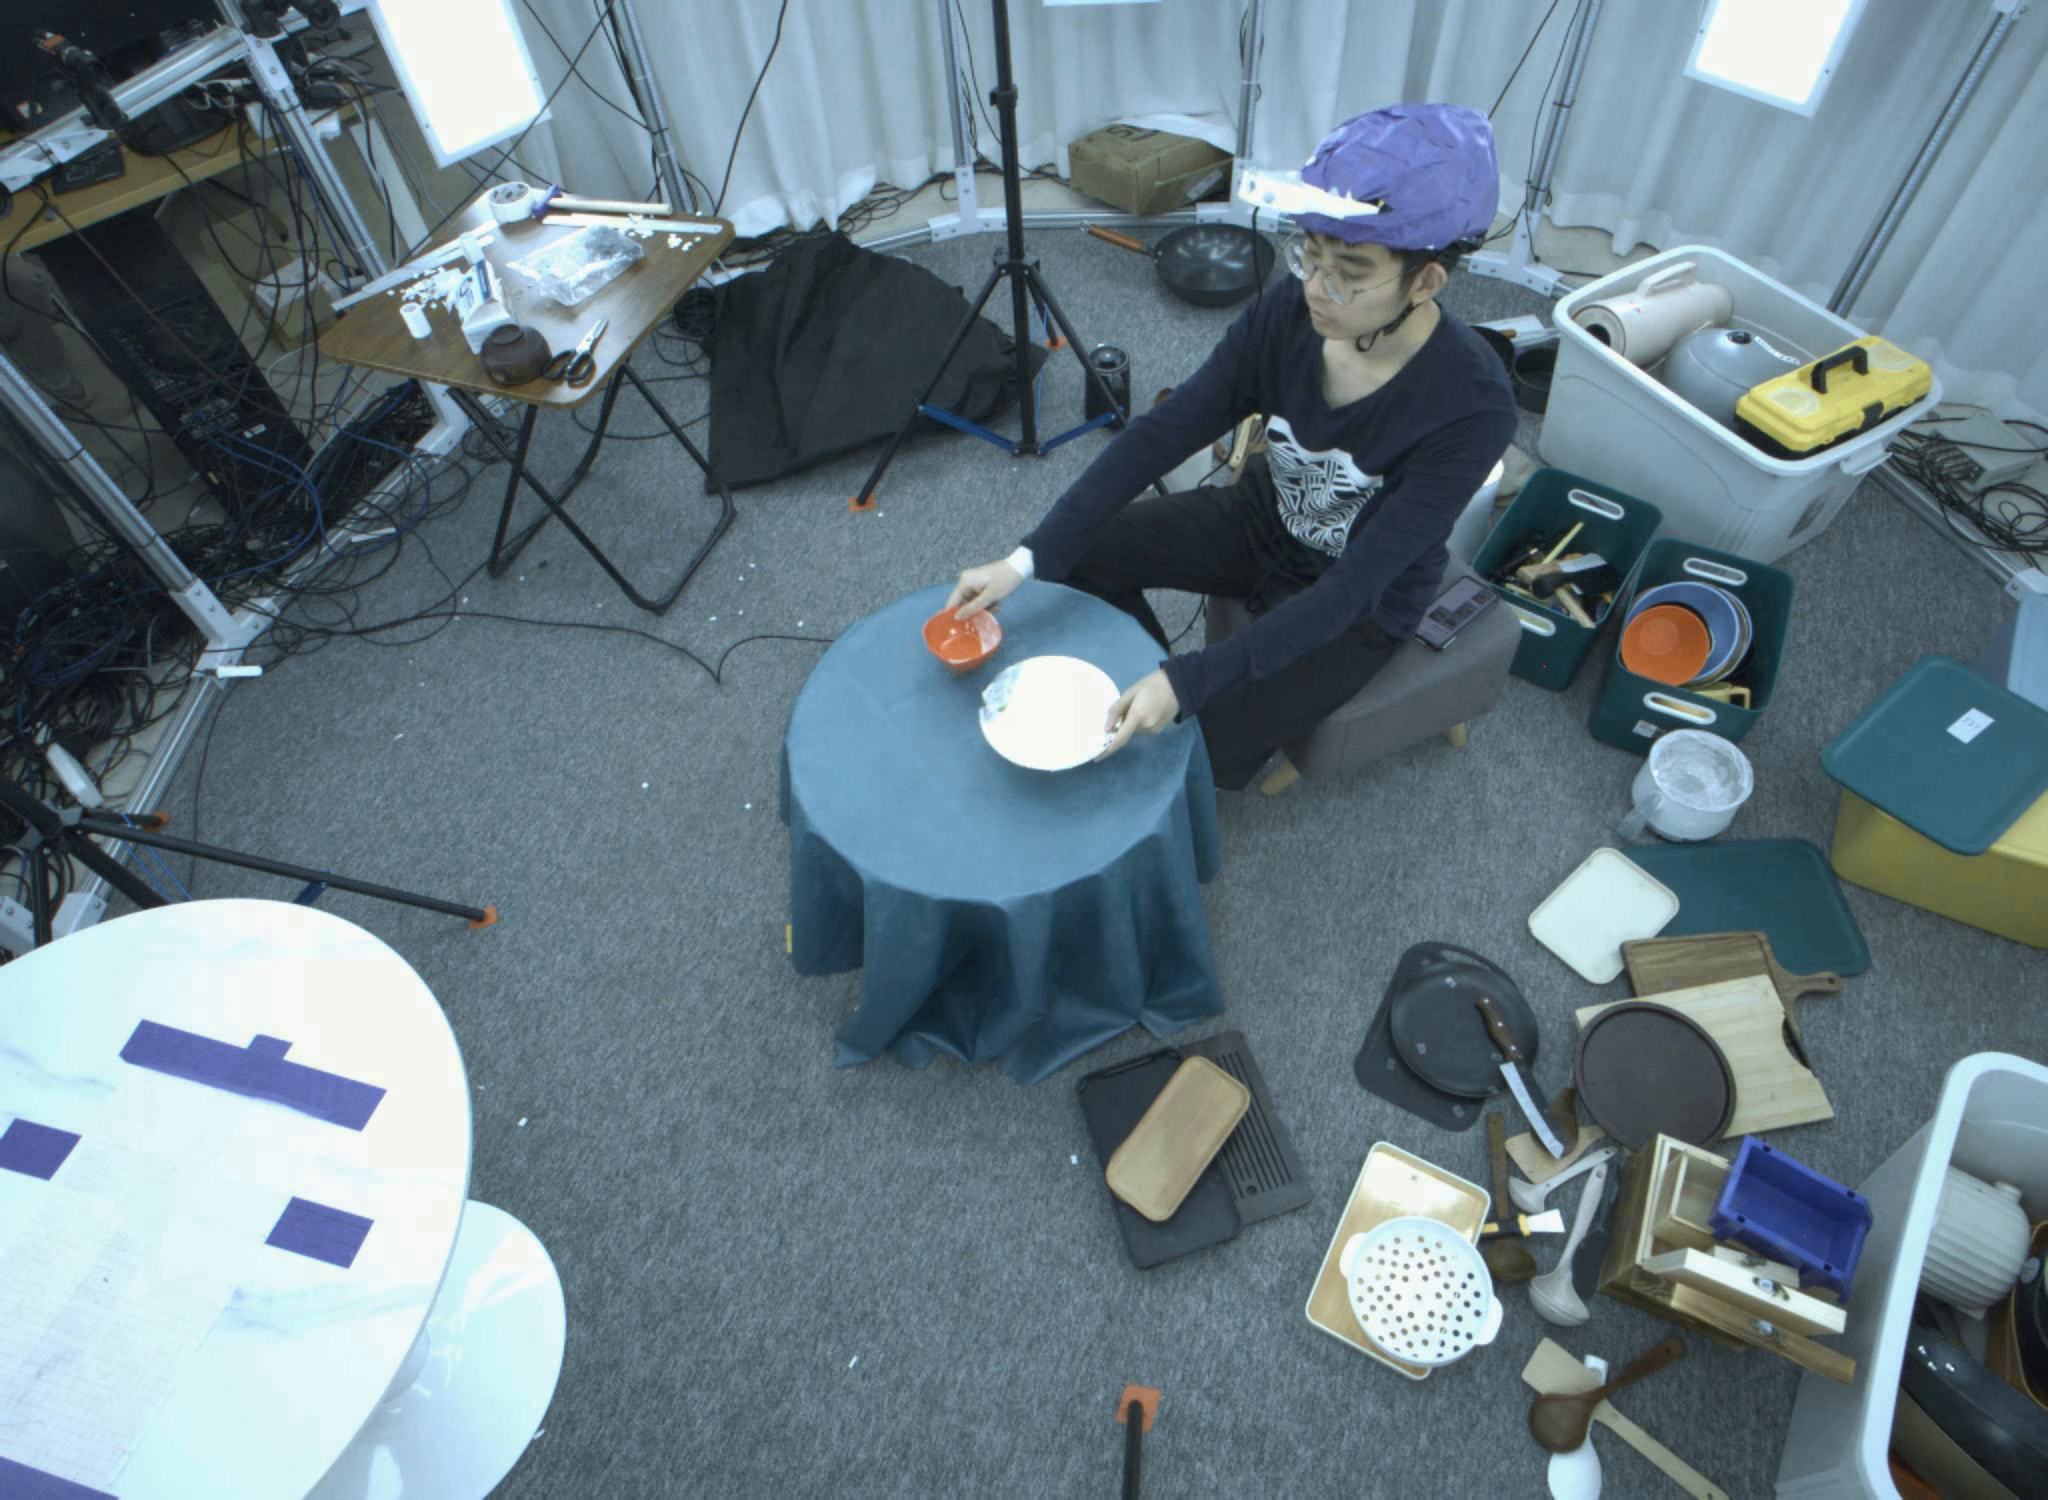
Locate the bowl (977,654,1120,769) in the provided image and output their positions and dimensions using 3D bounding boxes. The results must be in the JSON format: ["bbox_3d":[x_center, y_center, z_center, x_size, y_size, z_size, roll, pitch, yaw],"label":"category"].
[{"bbox_3d":[0.034,-0.037,1.774,0.204,0.078,0.202,2,55,-1],"label":"bowl"}]

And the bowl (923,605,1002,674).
[{"bbox_3d":[-0.091,-0.160,1.845,0.119,0.052,0.117,0,51,1],"label":"bowl"}]
